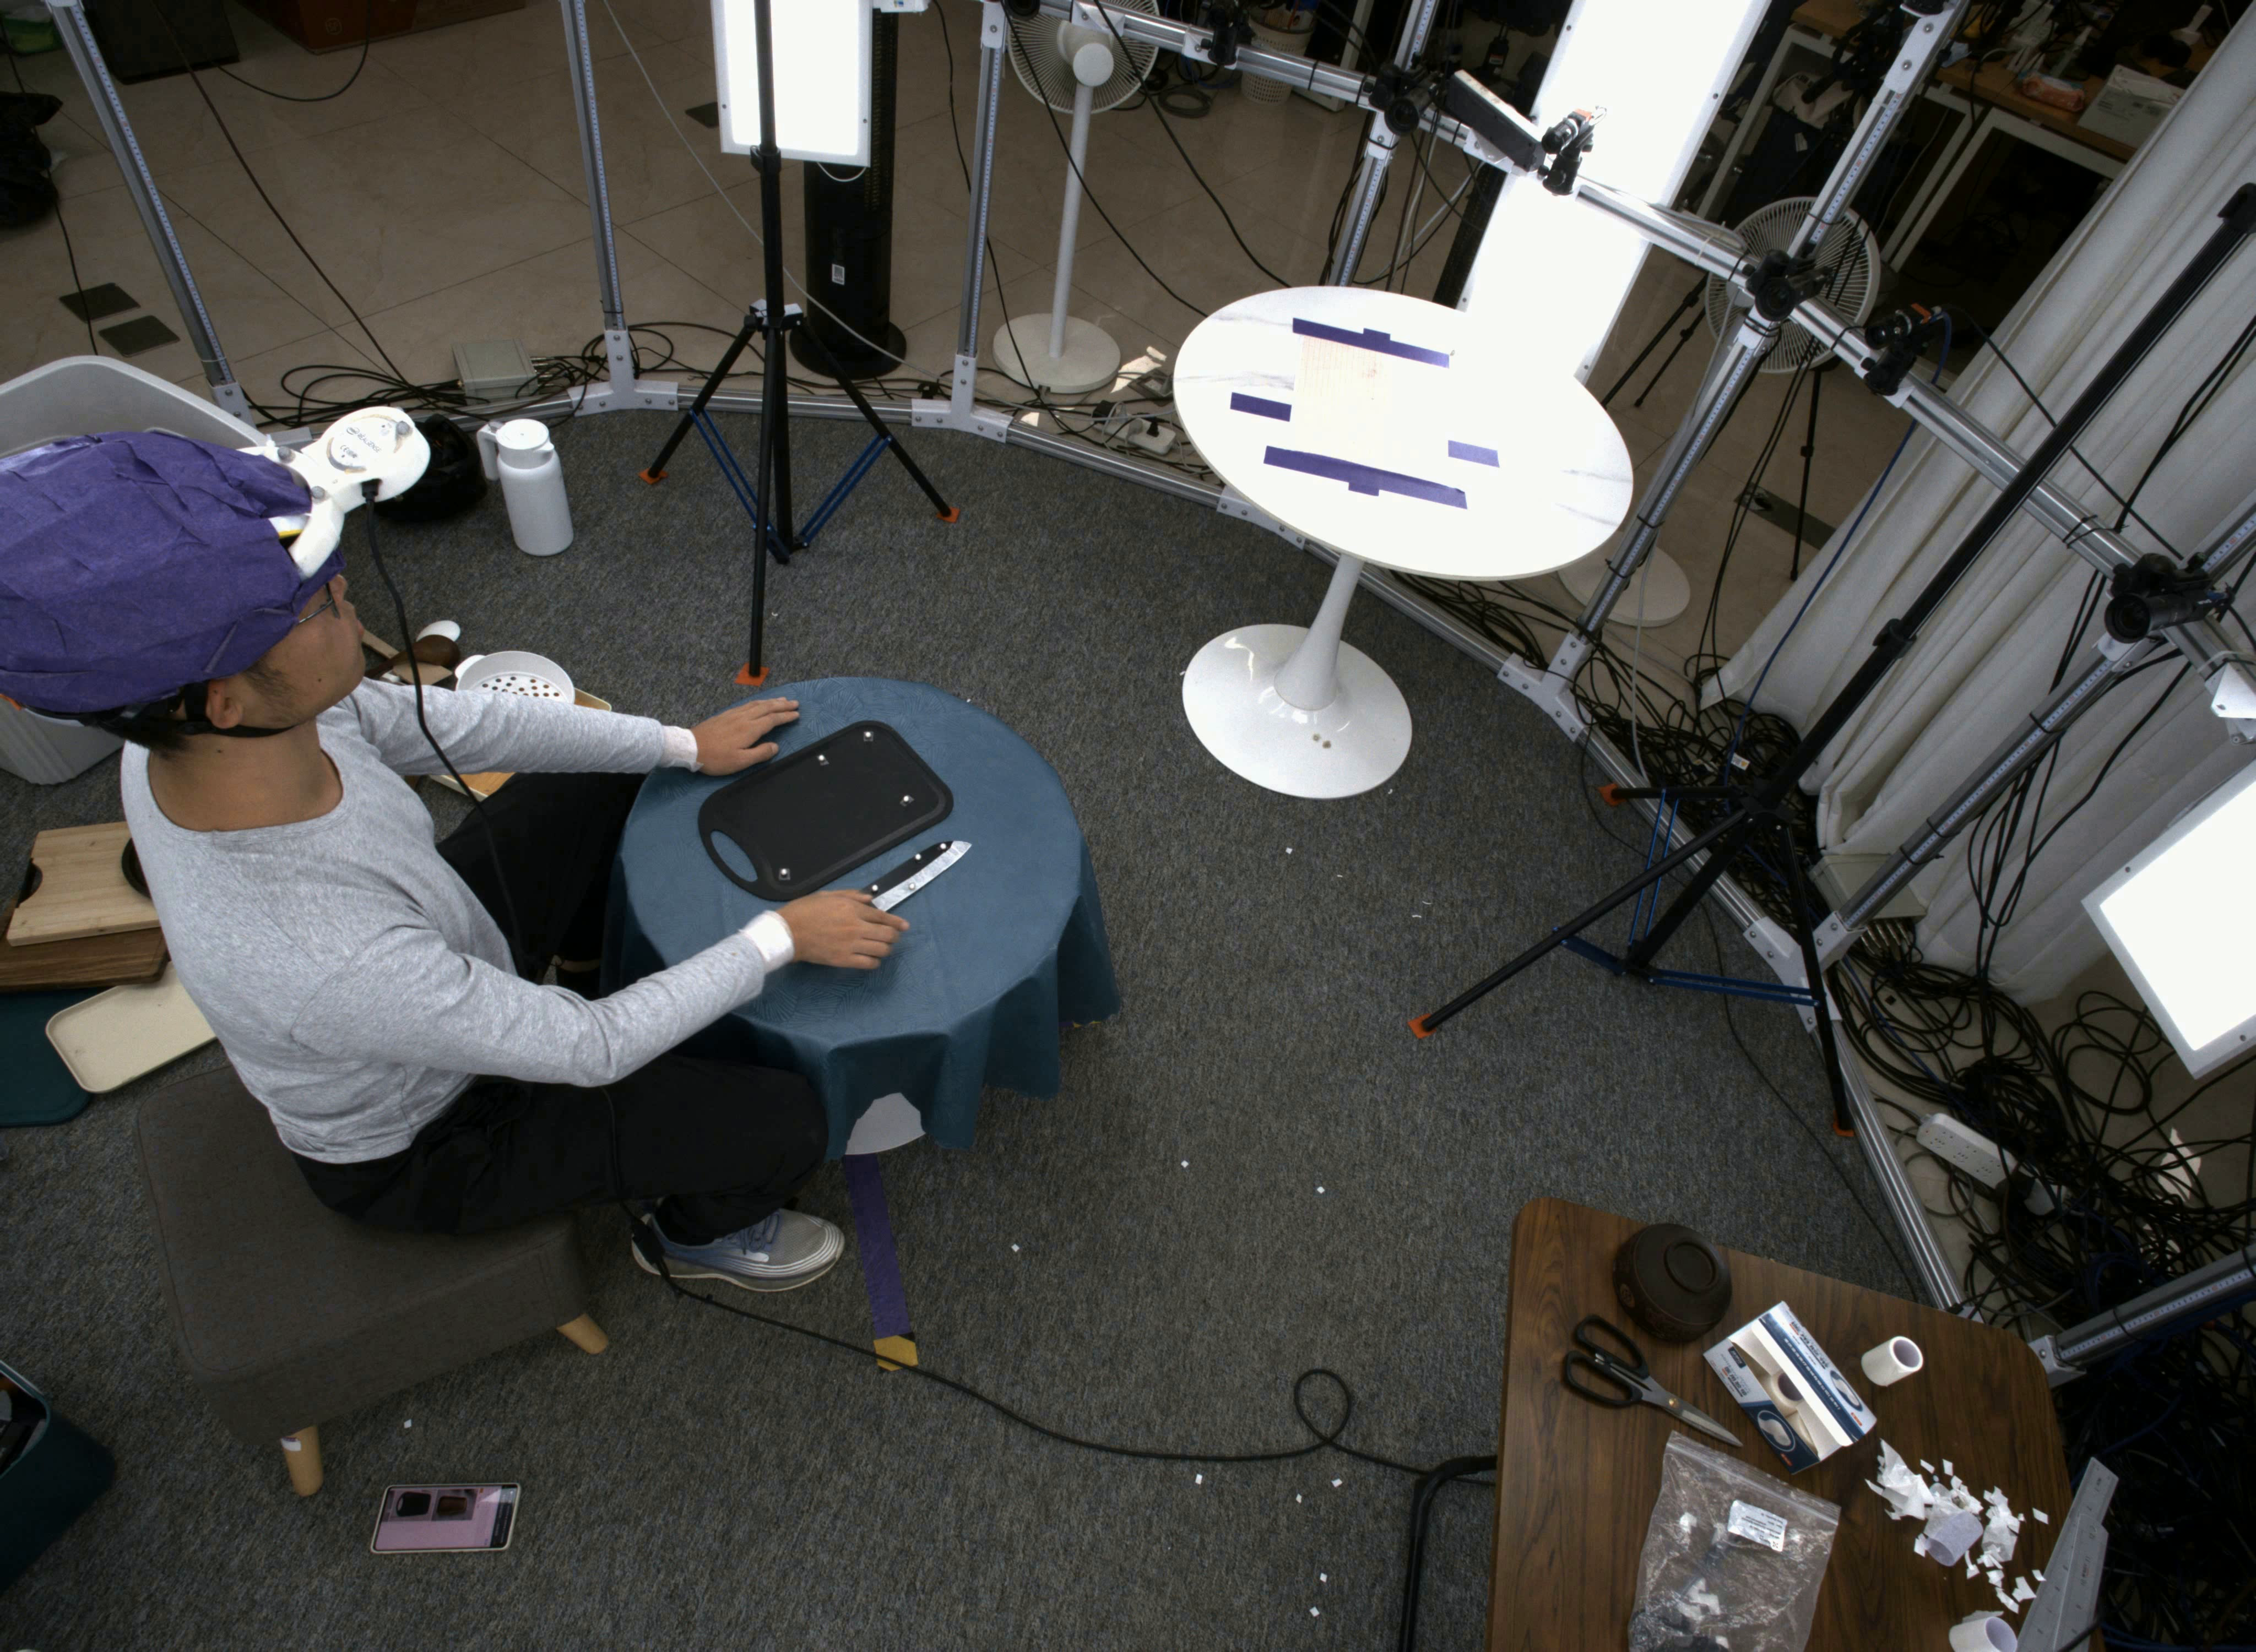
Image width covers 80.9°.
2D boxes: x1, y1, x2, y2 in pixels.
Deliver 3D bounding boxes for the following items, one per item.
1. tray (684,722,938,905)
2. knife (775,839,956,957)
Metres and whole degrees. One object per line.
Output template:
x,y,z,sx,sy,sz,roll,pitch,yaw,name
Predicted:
-0.430,-0.021,1.746,0.326,0.010,0.206,-32,67,-31,tray
-0.334,0.087,1.684,0.290,0.020,0.049,-34,72,-35,knife
